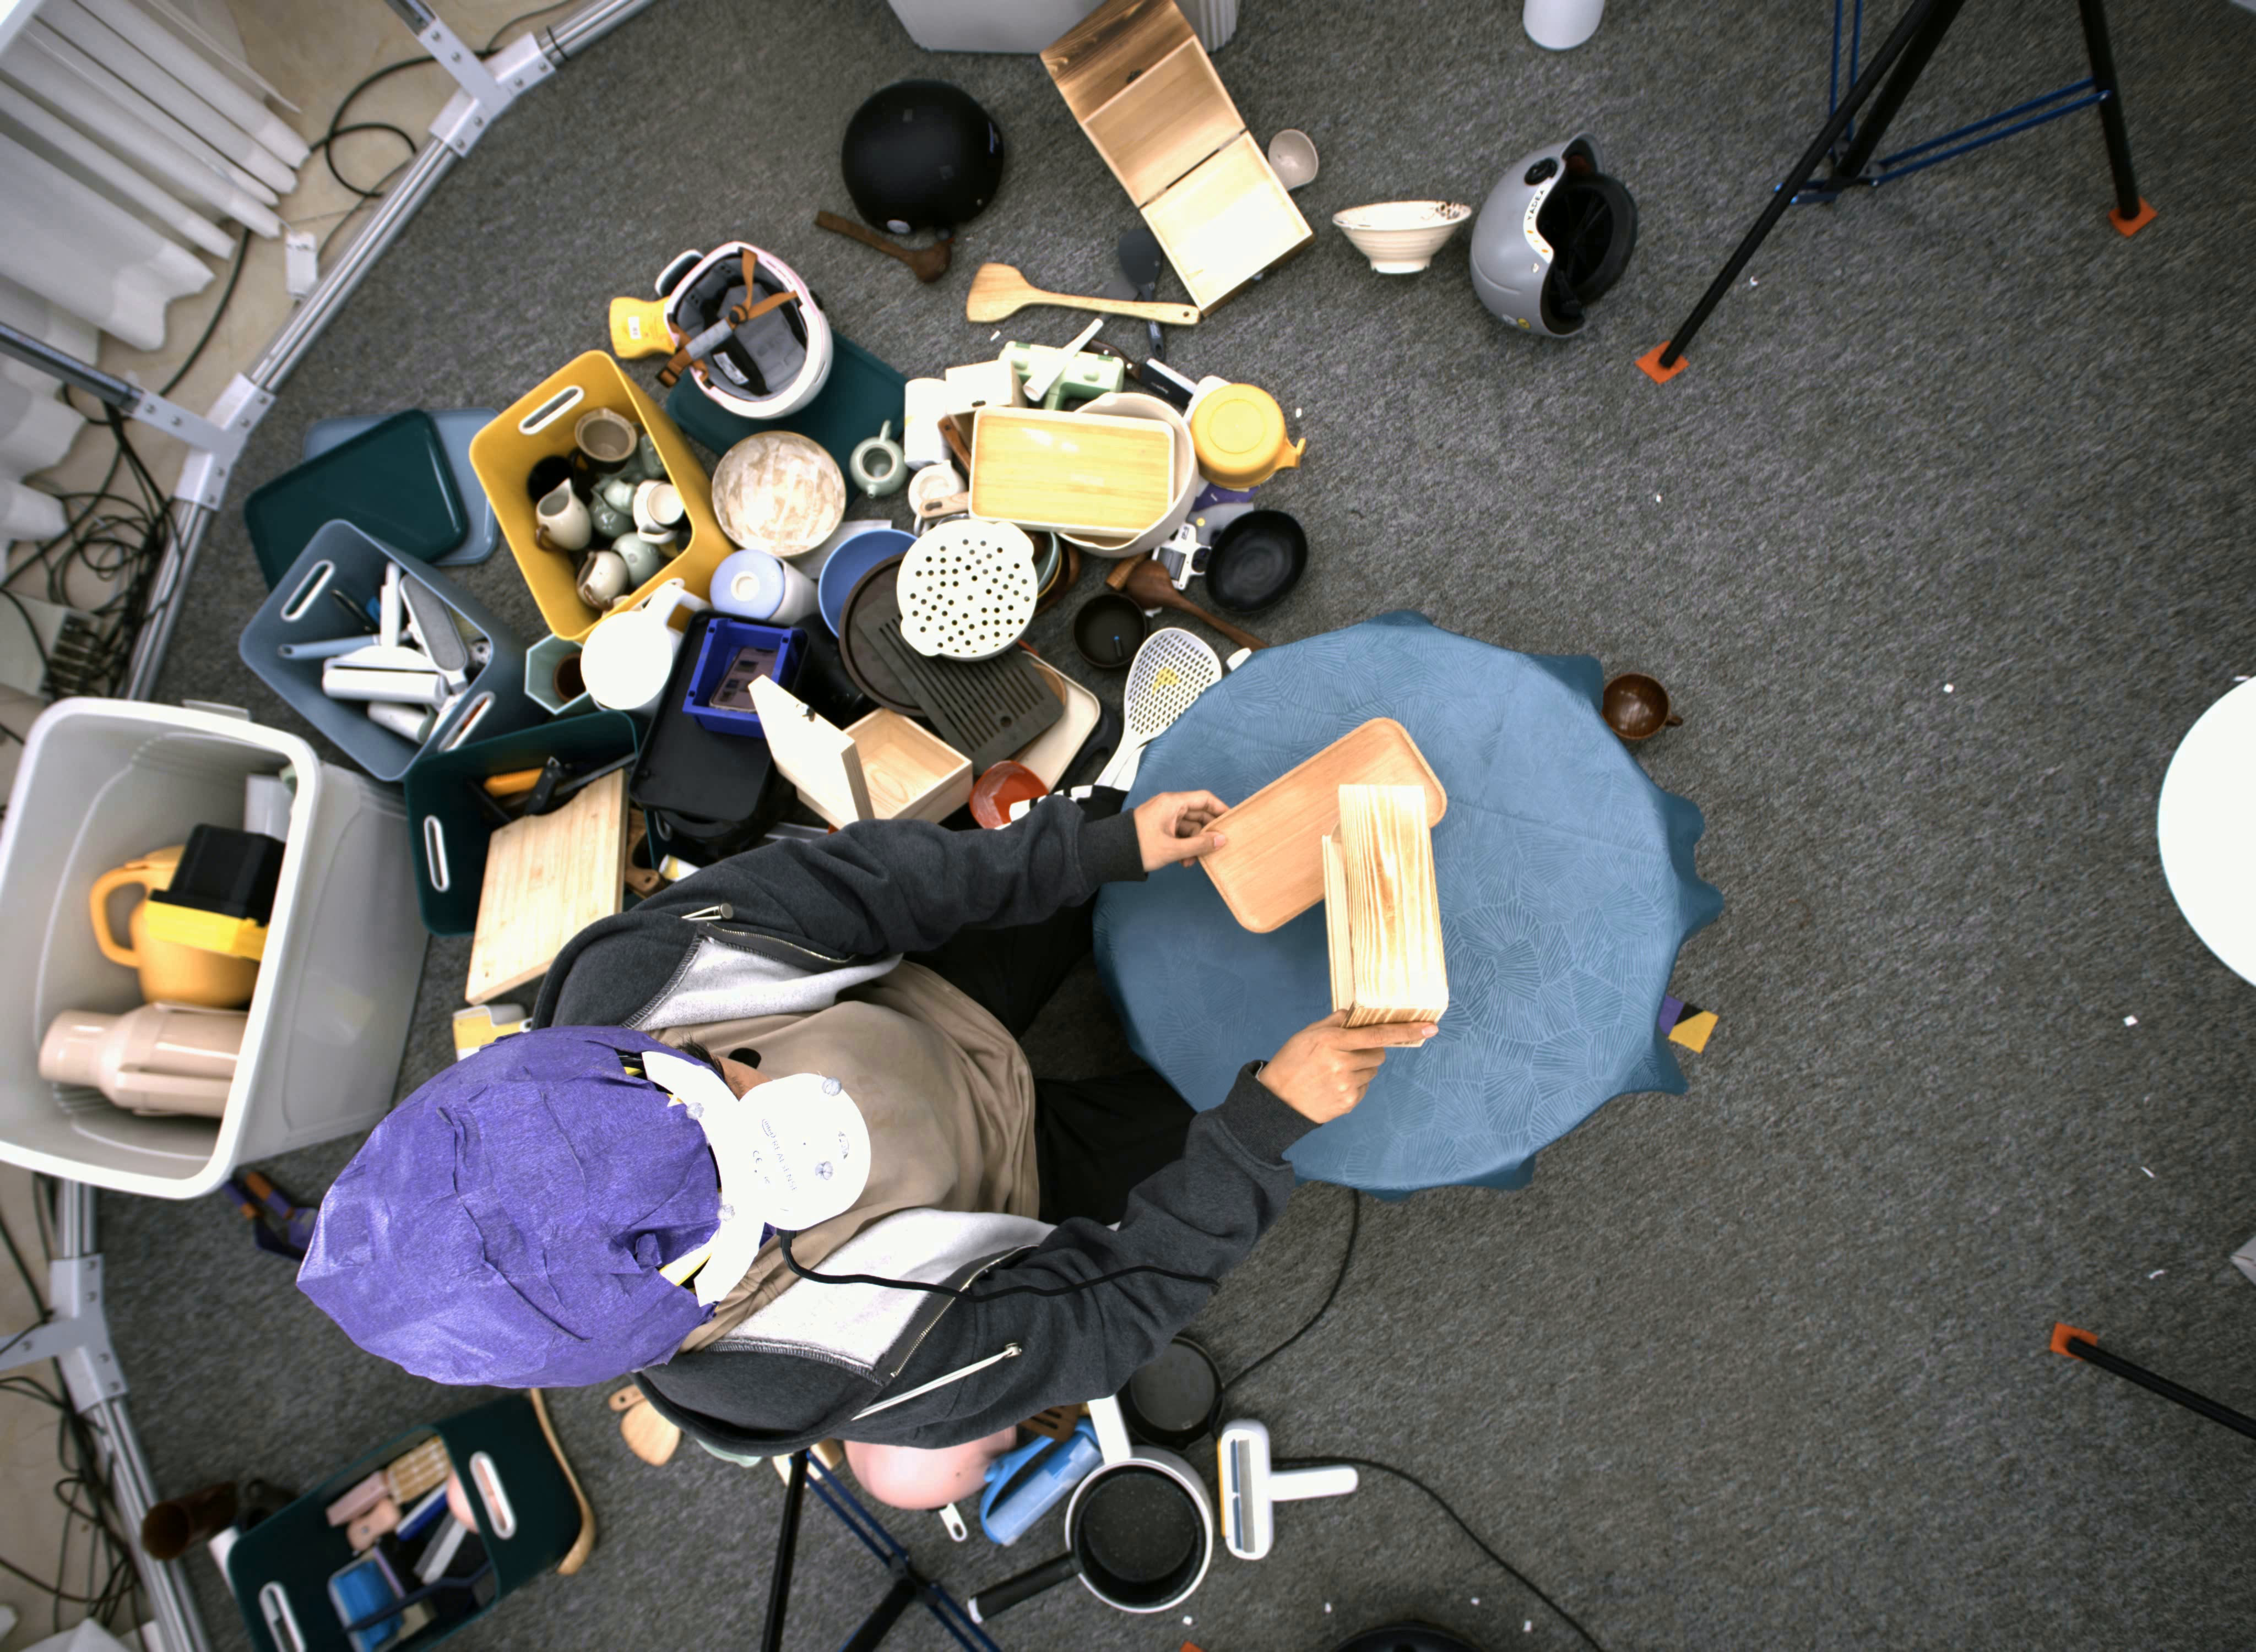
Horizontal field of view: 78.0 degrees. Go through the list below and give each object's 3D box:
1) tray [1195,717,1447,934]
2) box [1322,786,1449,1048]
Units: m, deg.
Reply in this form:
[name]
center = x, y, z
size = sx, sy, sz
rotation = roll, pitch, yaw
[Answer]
[tray]
center = 0.196, -0.001, 1.401
size = 0.251, 0.023, 0.130
rotation = -32, 88, 0
[box]
center = 0.227, 0.080, 1.237
size = 0.080, 0.110, 0.207
rotation = 1, 63, -2
